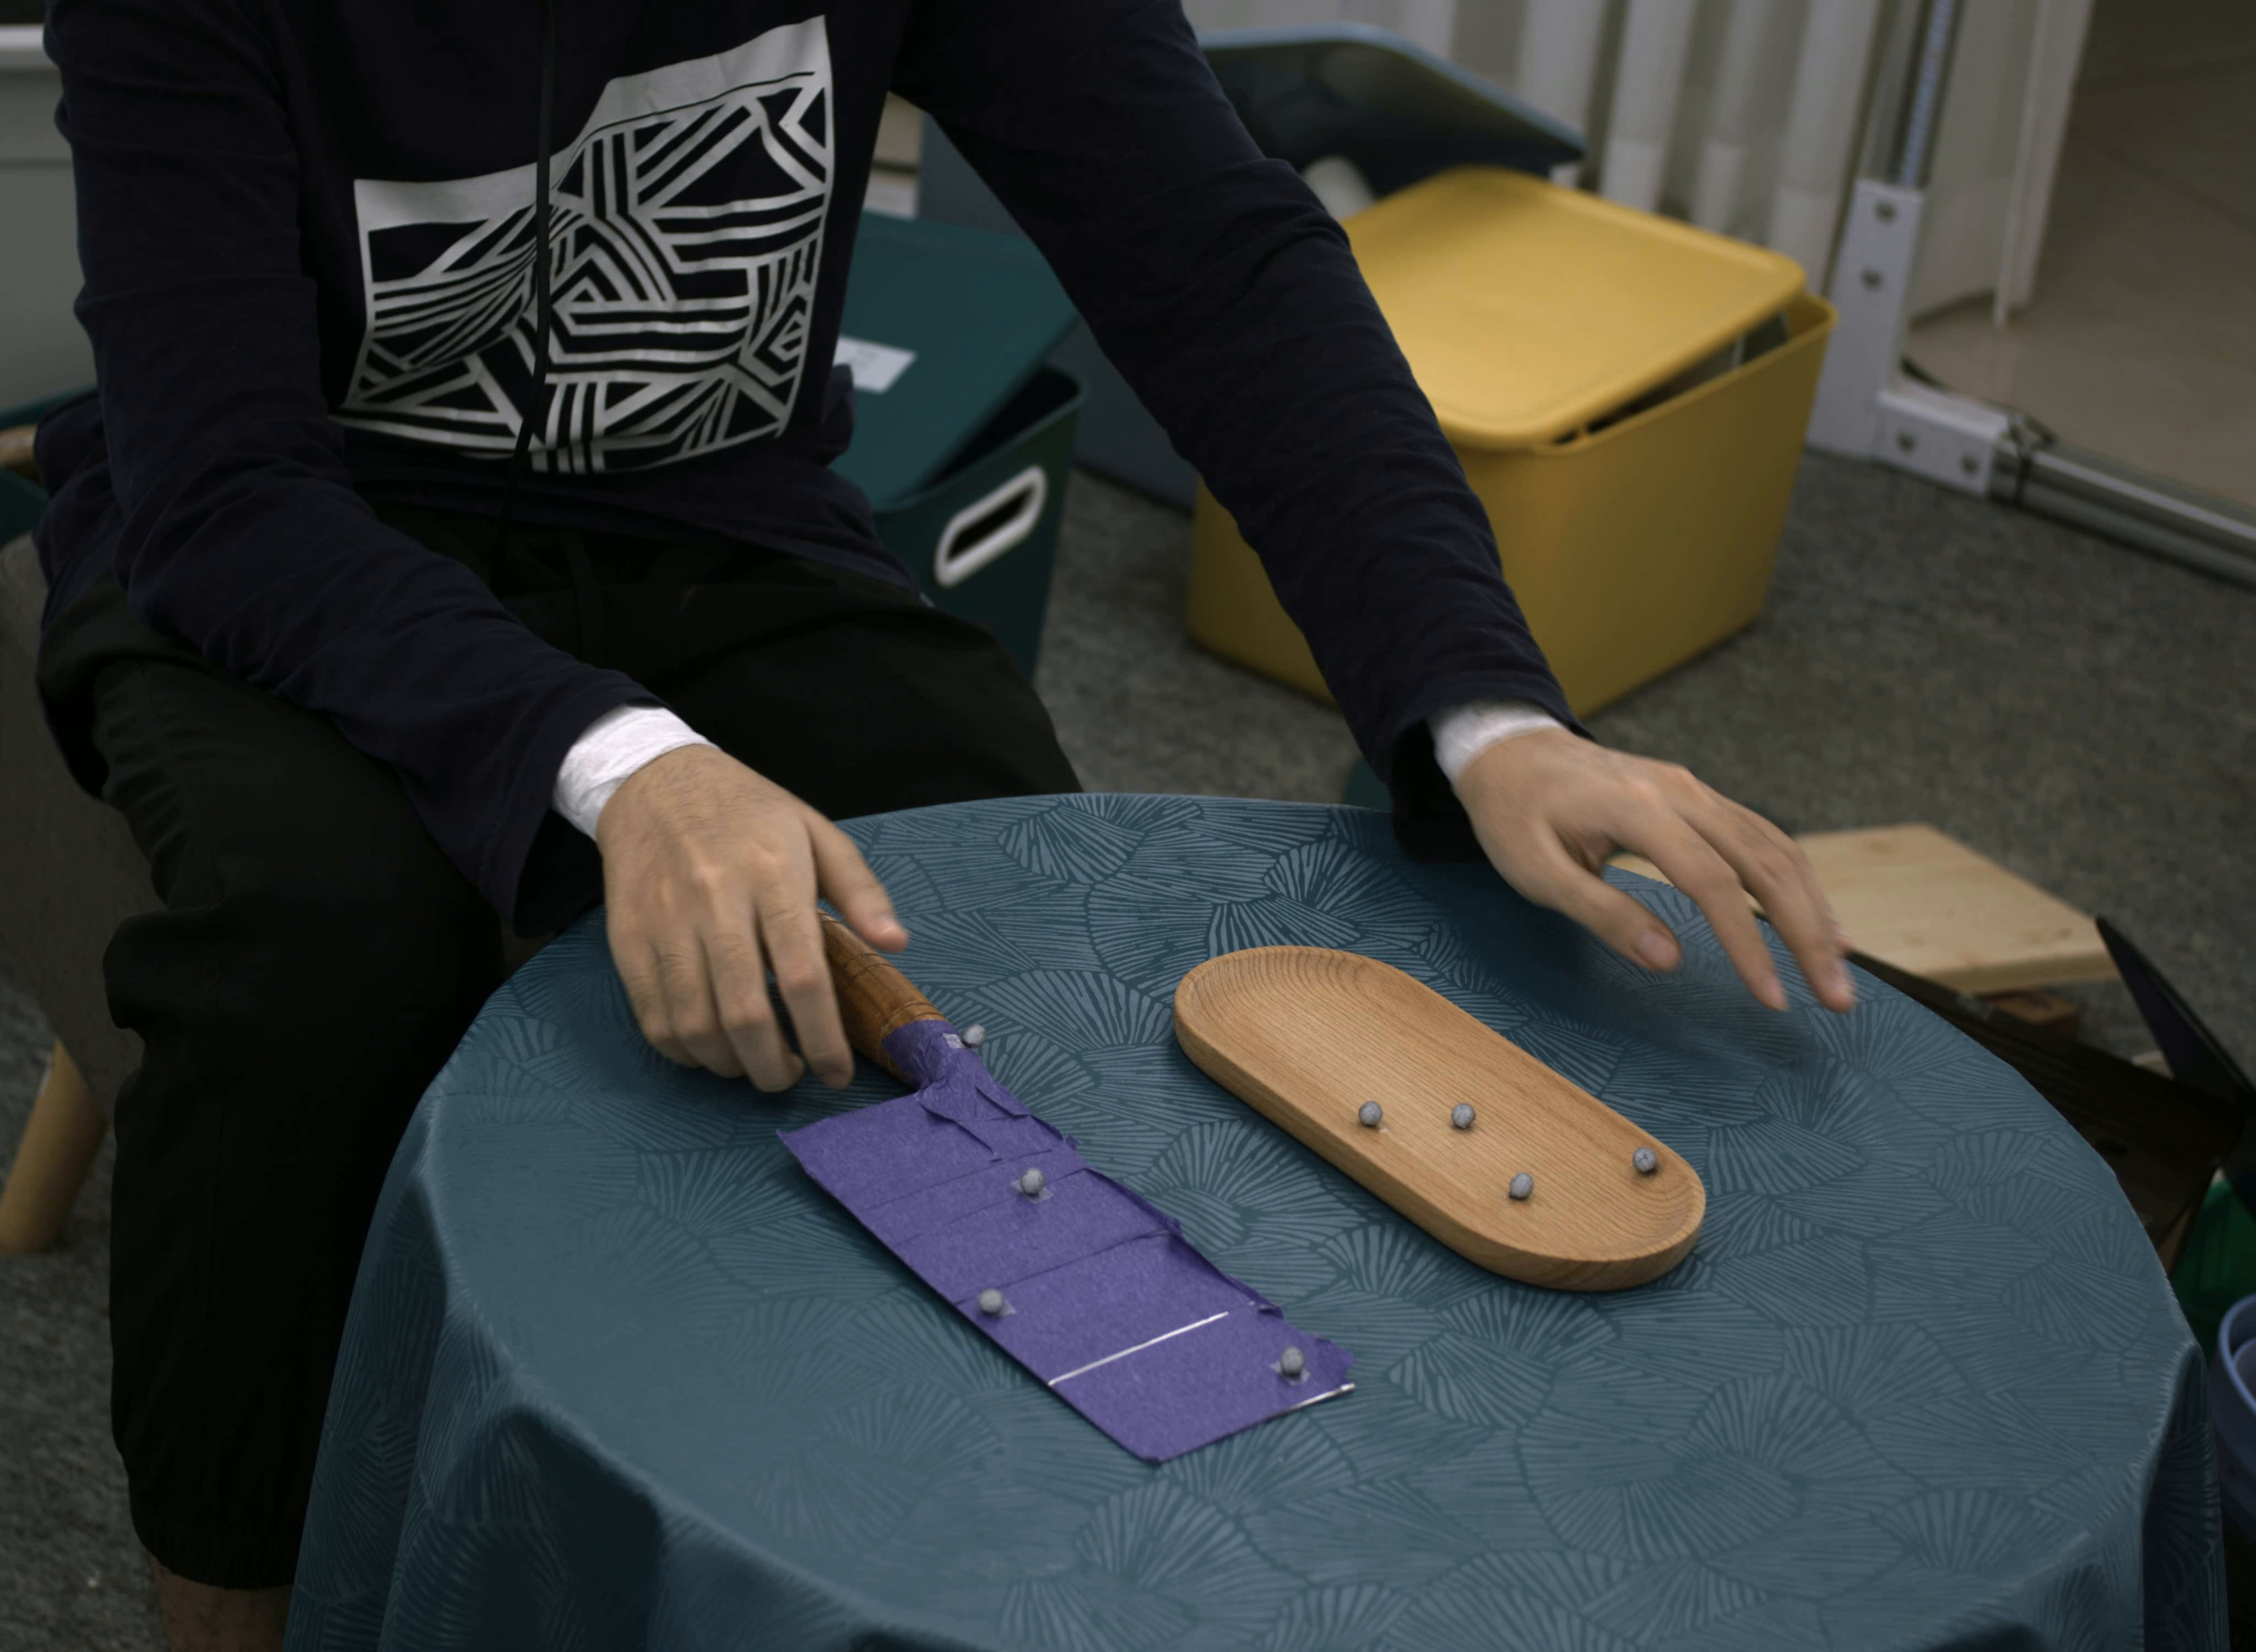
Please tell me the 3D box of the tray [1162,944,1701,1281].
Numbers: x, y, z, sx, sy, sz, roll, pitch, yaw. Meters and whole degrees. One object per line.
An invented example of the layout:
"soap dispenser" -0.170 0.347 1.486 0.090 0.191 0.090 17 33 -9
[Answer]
"tray" 0.104 0.098 1.861 0.101 0.020 0.233 -14 32 -37

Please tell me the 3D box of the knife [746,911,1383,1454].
"knife" -0.052 0.115 1.781 0.103 0.032 0.318 -15 34 -36
